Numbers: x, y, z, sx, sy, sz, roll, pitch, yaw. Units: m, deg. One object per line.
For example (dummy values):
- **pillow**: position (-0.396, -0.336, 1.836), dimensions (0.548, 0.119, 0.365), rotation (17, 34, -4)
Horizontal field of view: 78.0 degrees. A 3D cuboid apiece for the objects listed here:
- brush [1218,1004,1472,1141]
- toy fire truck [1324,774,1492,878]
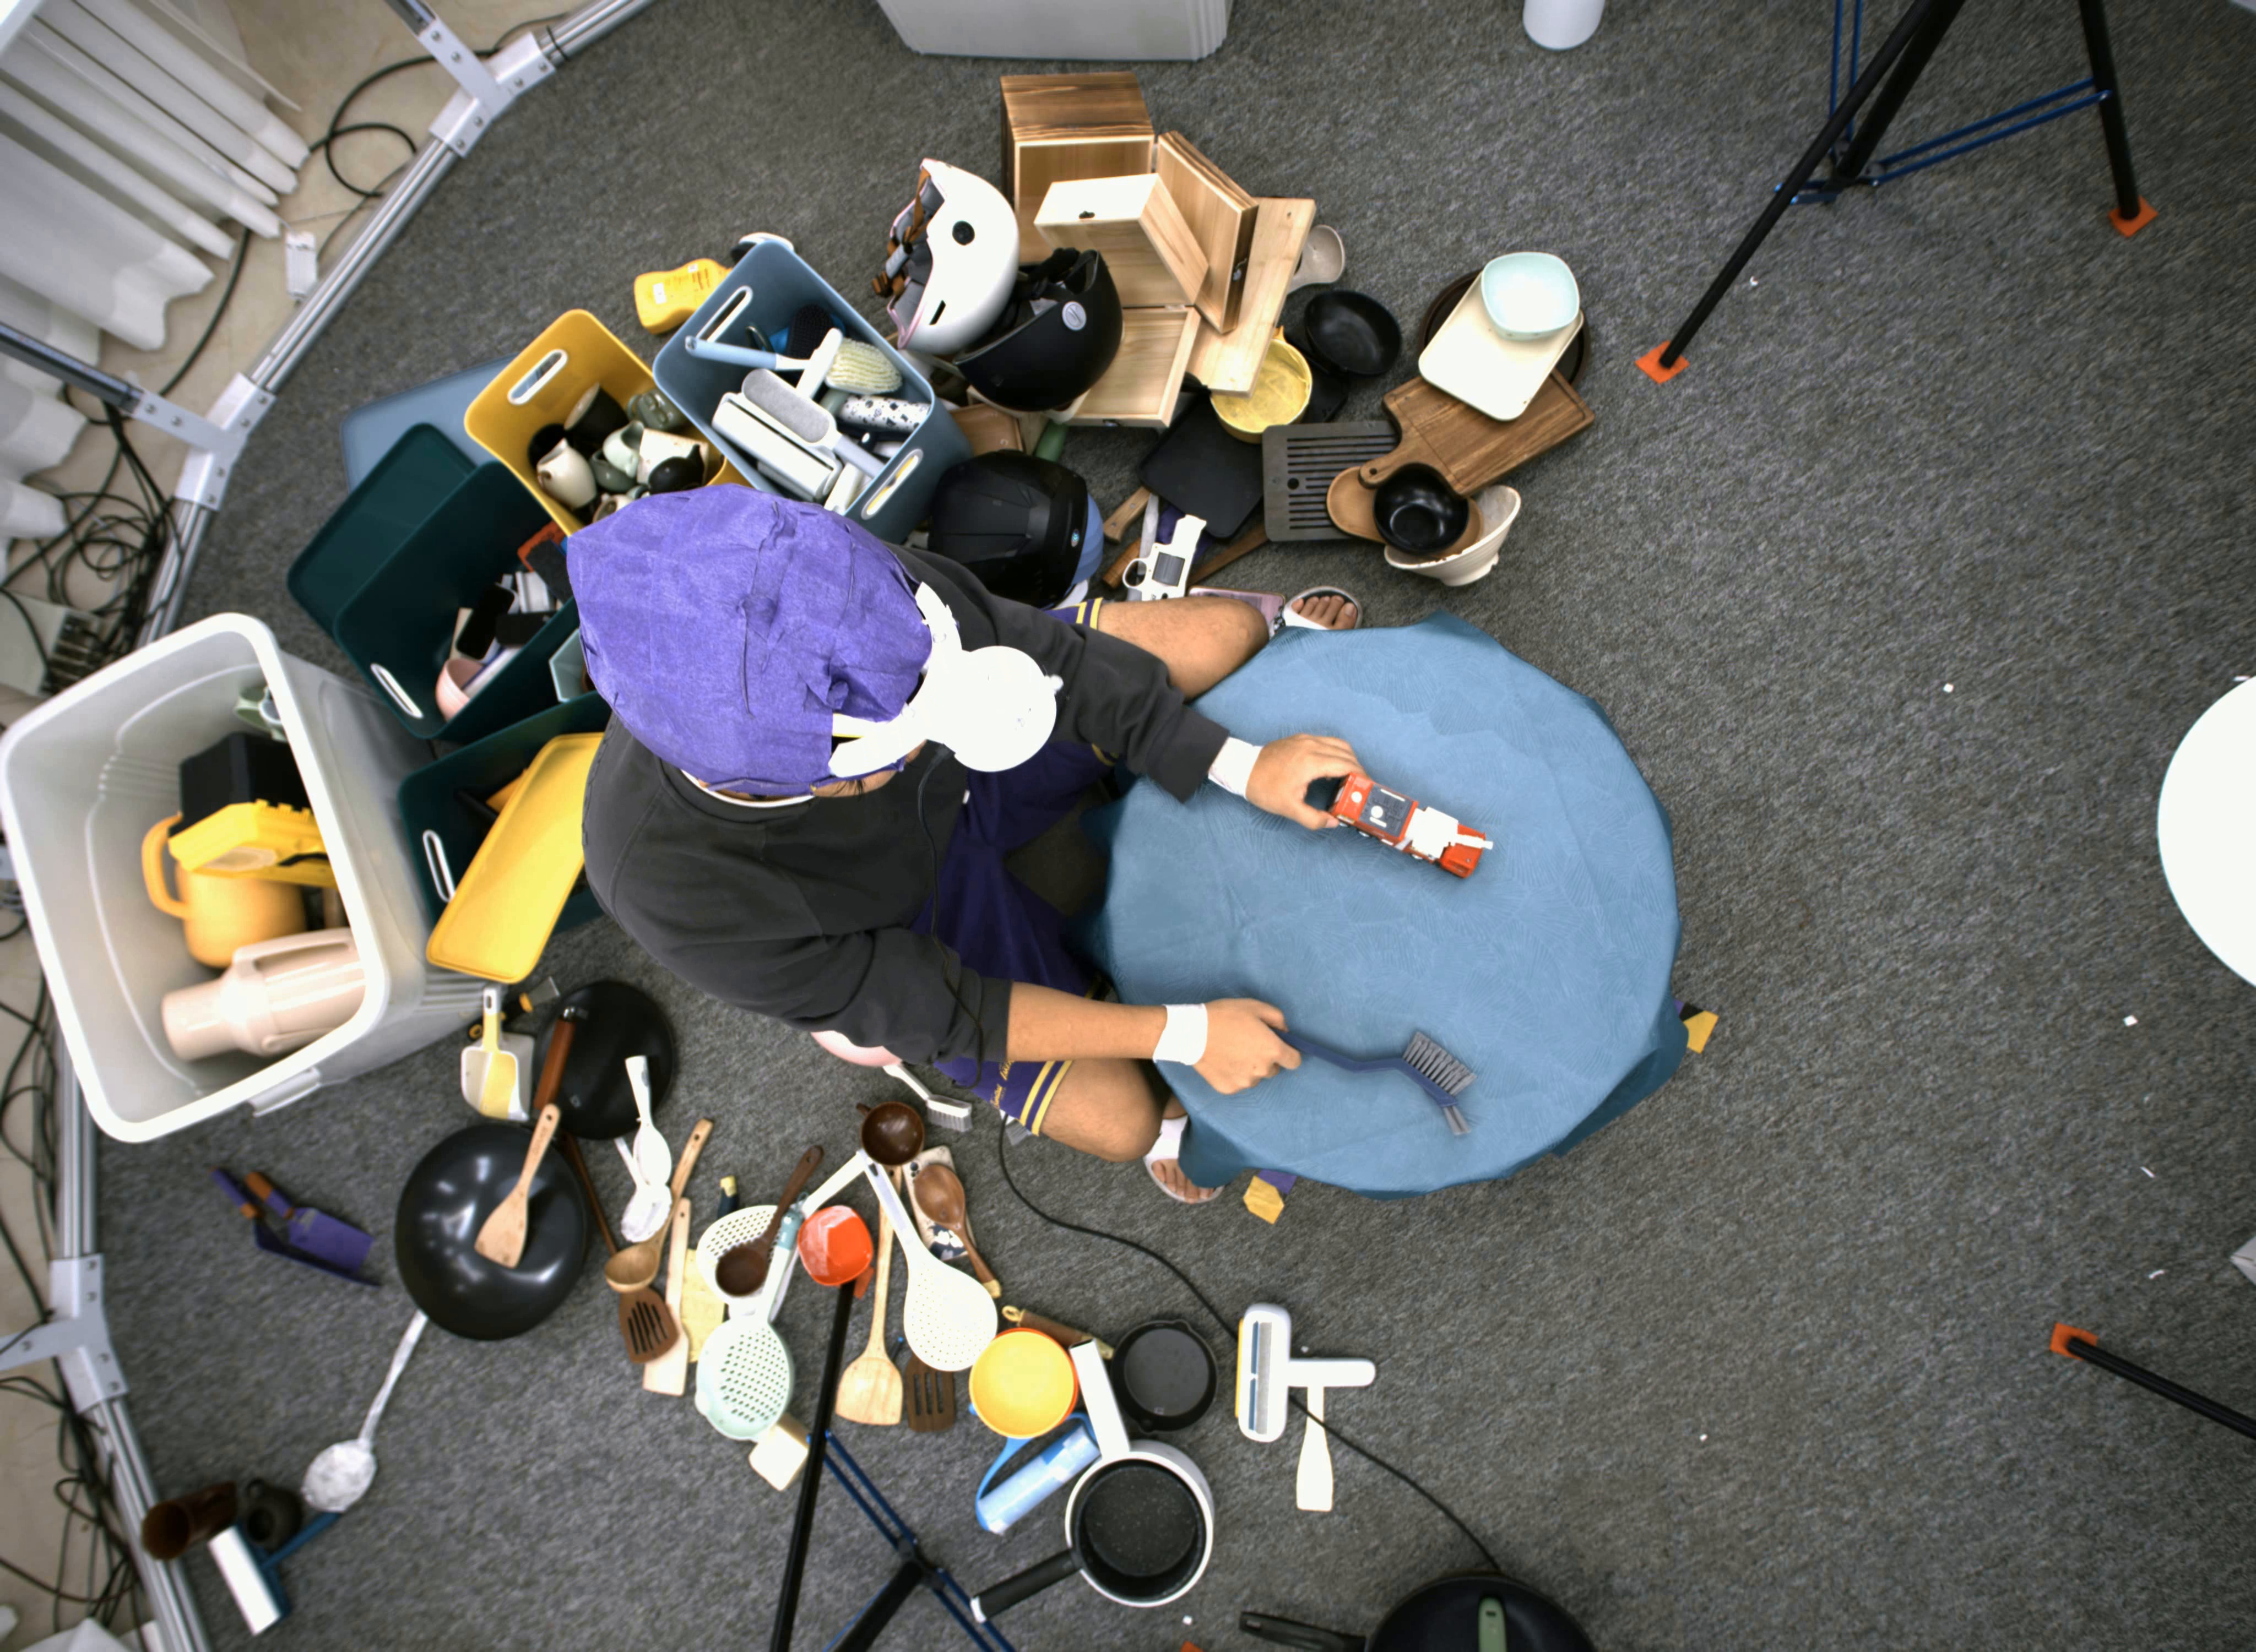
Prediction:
- **brush**: position (0.221, 0.248, 1.442), dimensions (0.273, 0.033, 0.095), rotation (13, 89, 10)
- **toy fire truck**: position (0.289, -0.001, 1.419), dimensions (0.168, 0.071, 0.053), rotation (23, 81, 2)
